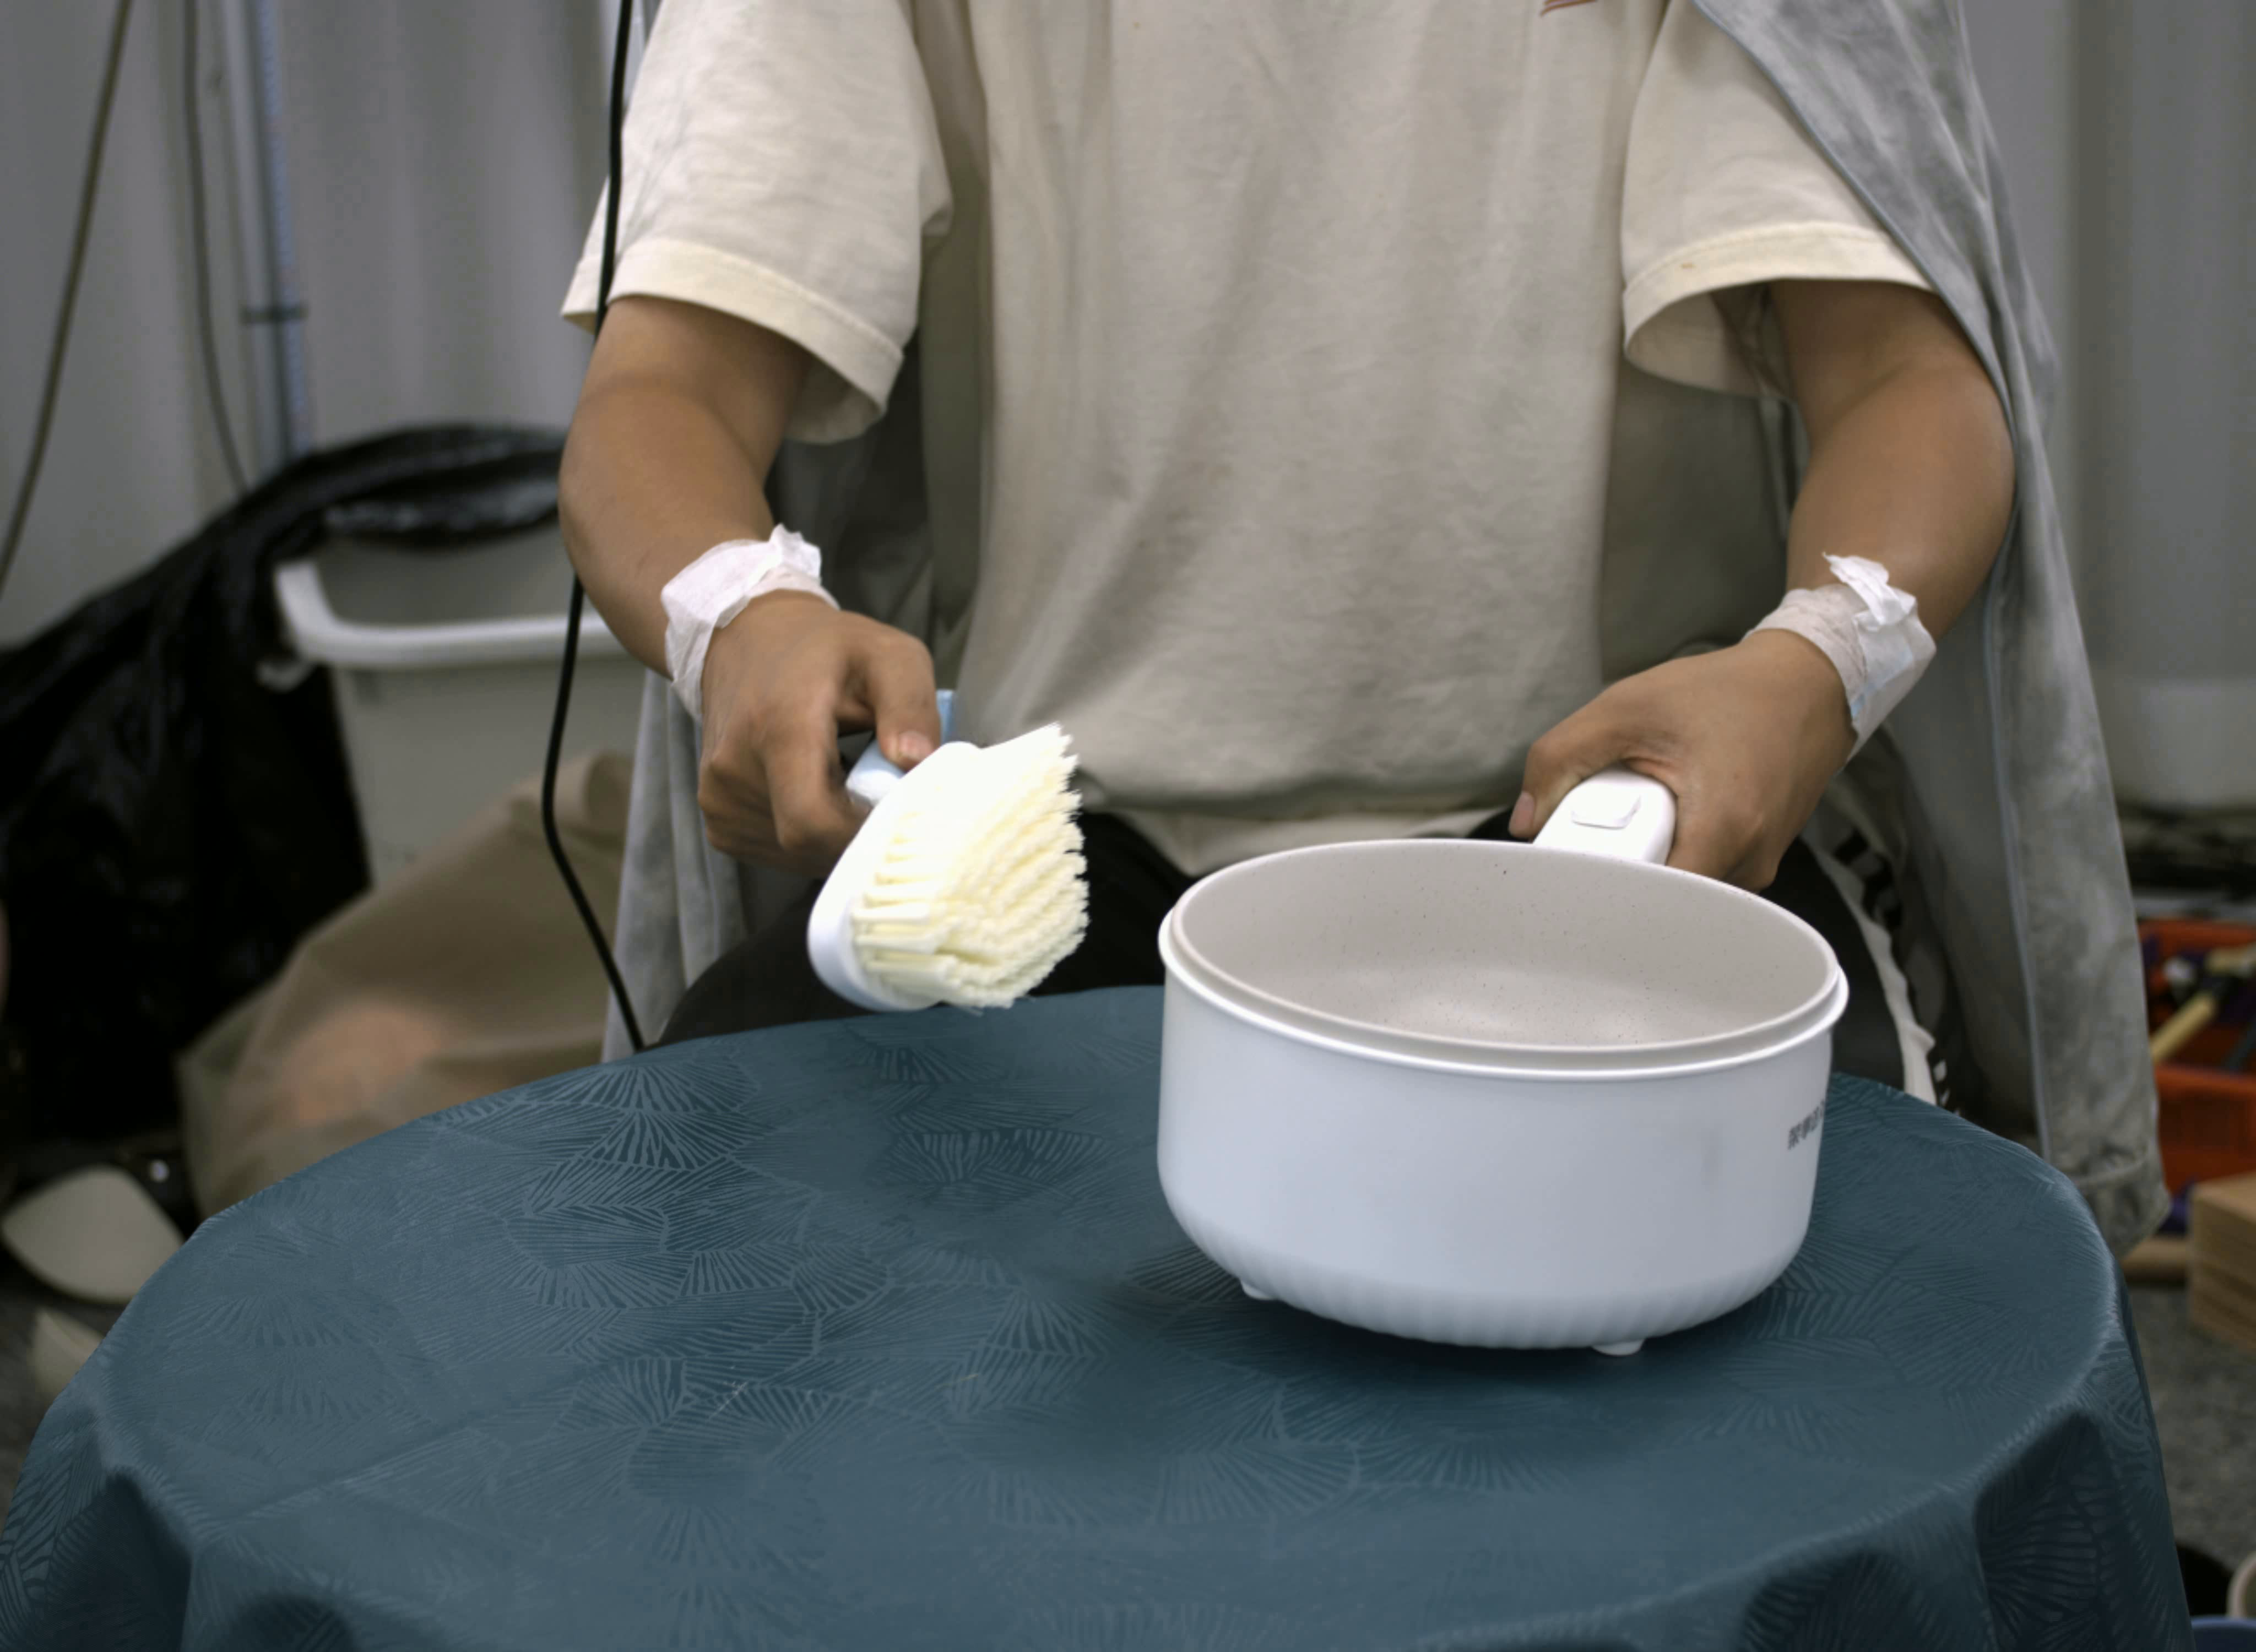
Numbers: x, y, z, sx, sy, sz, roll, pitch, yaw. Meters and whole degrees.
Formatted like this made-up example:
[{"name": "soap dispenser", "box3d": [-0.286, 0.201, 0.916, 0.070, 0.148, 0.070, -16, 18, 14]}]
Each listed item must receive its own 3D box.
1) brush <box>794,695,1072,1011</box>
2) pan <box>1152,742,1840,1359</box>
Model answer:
[{"name": "brush", "box3d": [-0.045, -0.007, 1.698, 0.084, 0.083, 0.327, 32, 12, -3]}, {"name": "pan", "box3d": [0.125, 0.063, 1.679, 0.201, 0.101, 0.356, 7, 16, 14]}]
